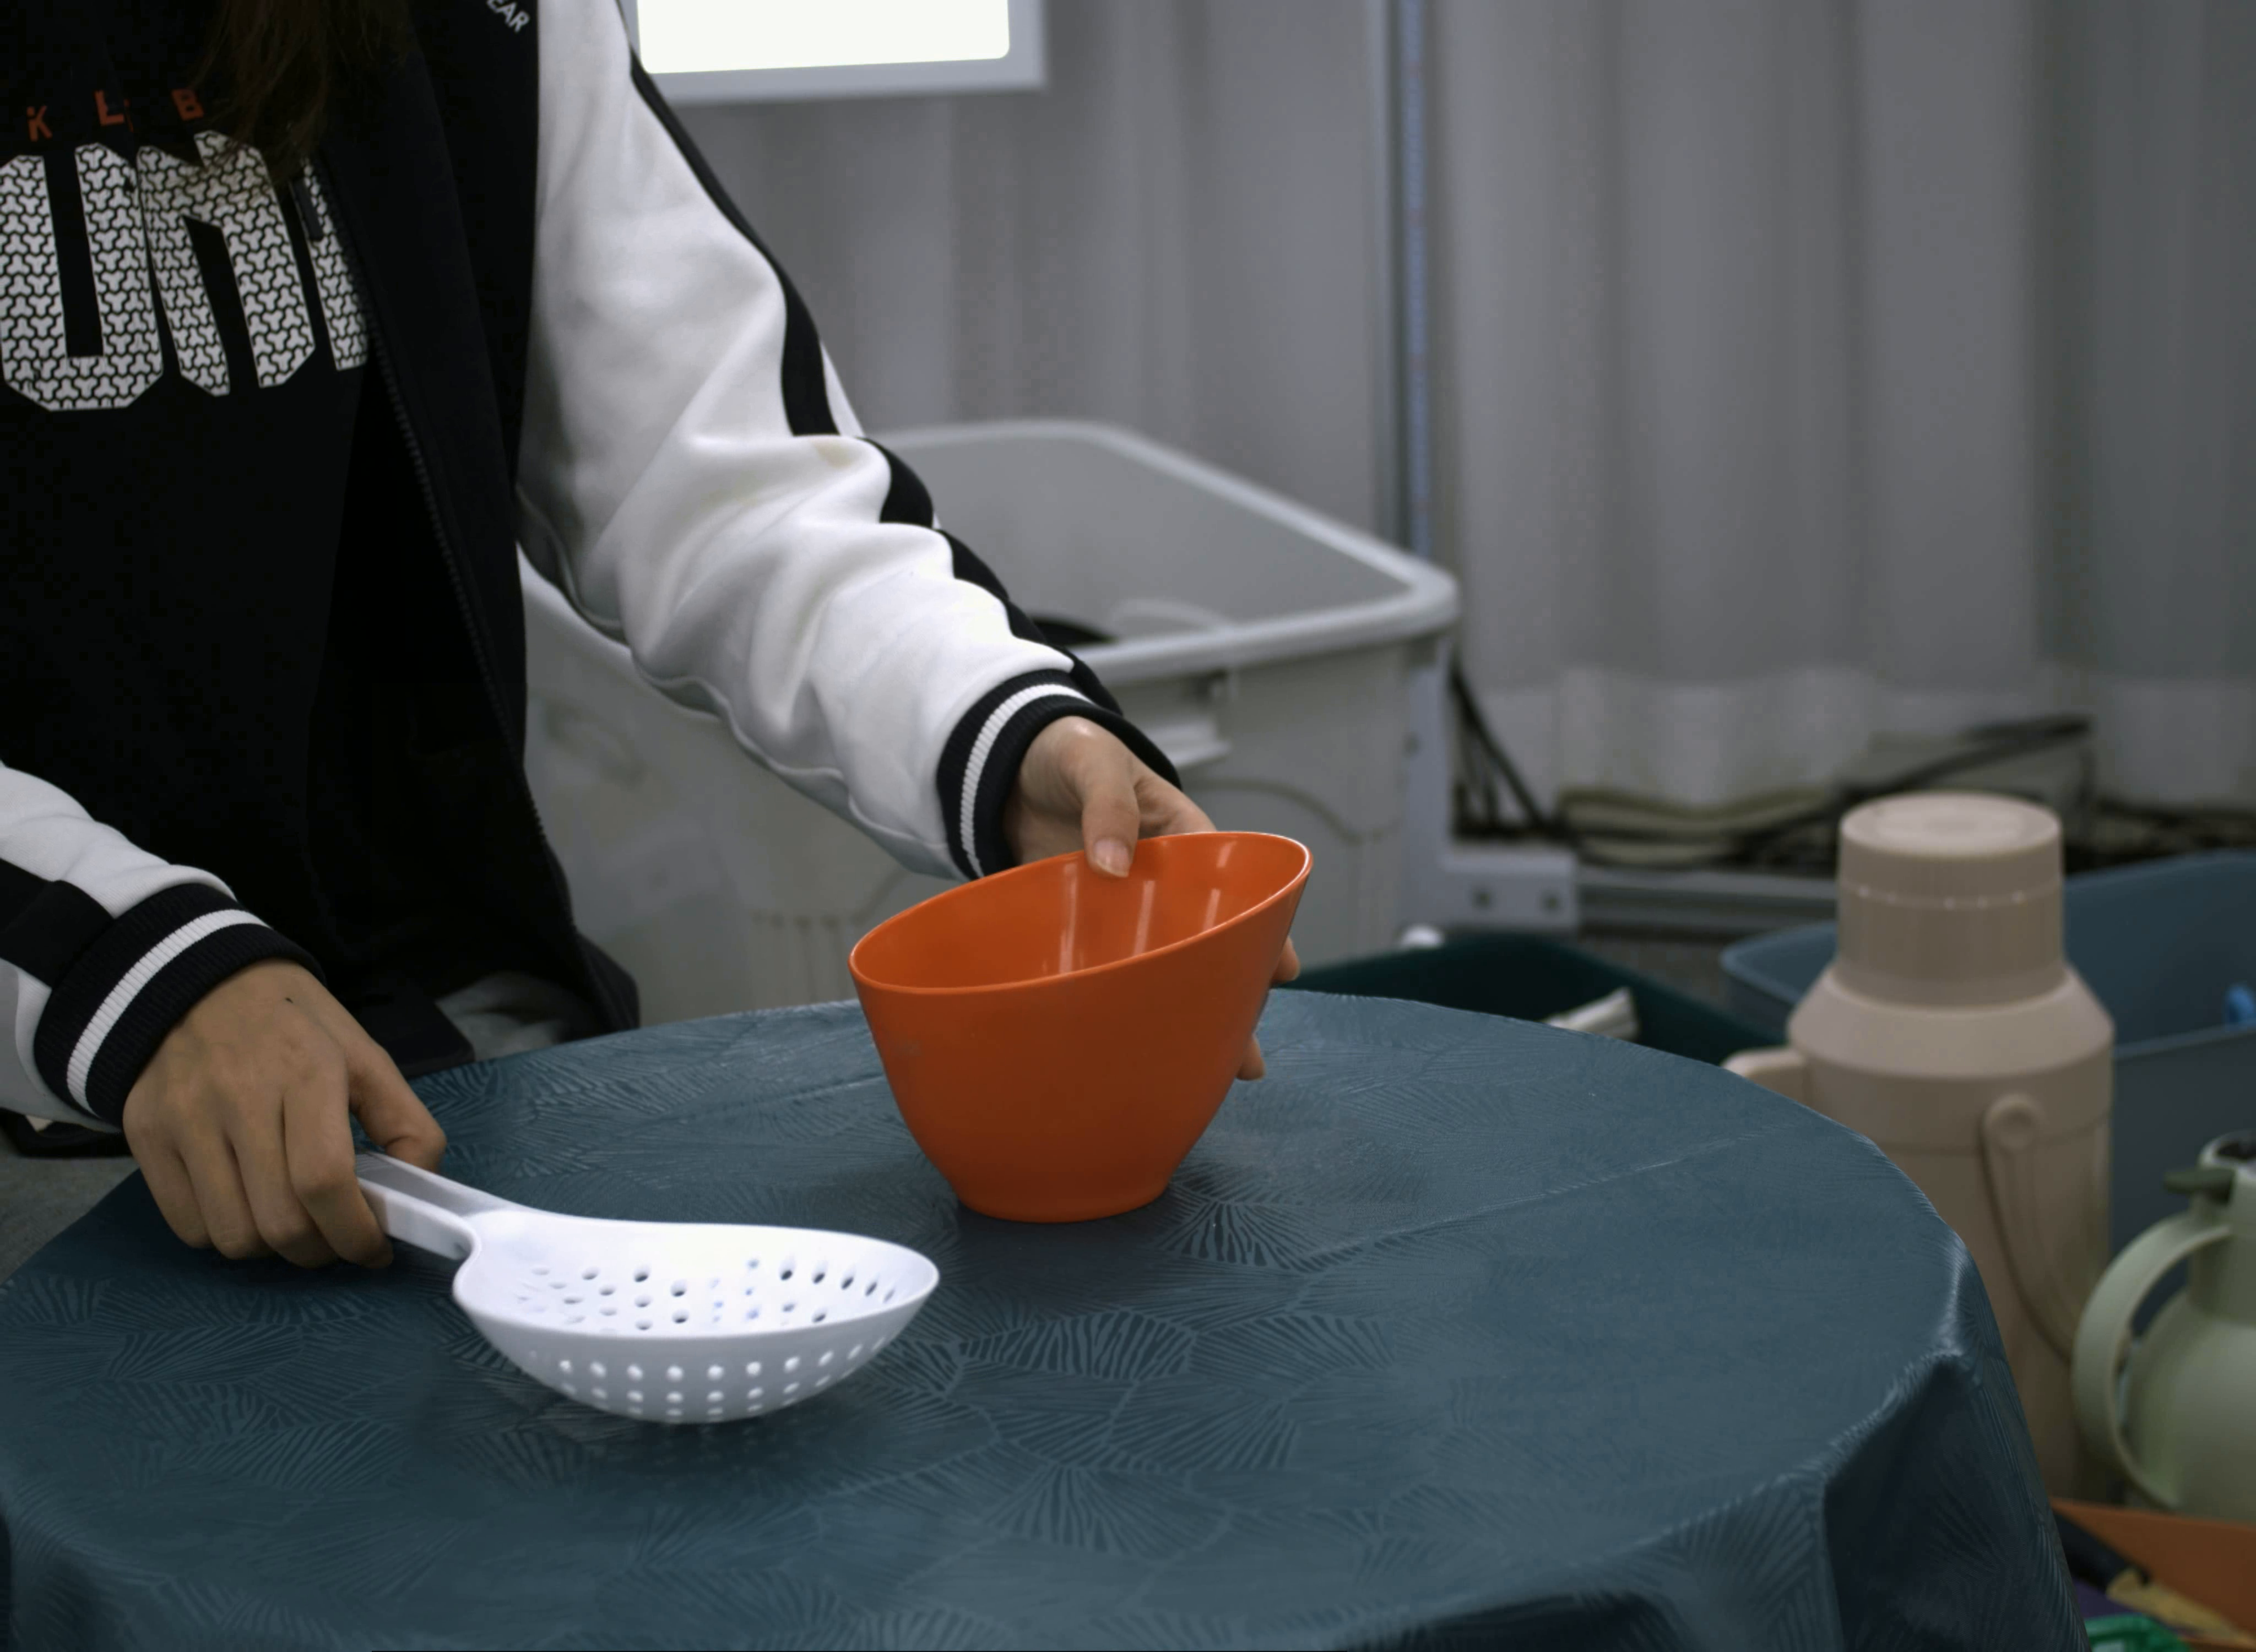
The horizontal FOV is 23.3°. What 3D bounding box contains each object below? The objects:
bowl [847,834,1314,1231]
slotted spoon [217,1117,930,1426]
[{"bbox_3d":[-0.012,0.067,1.706,0.147,0.104,0.149,-4,16,1],"label":"bowl"},{"bbox_3d":[-0.185,0.123,1.624,0.135,0.045,0.352,-7,15,-34],"label":"slotted spoon"}]
